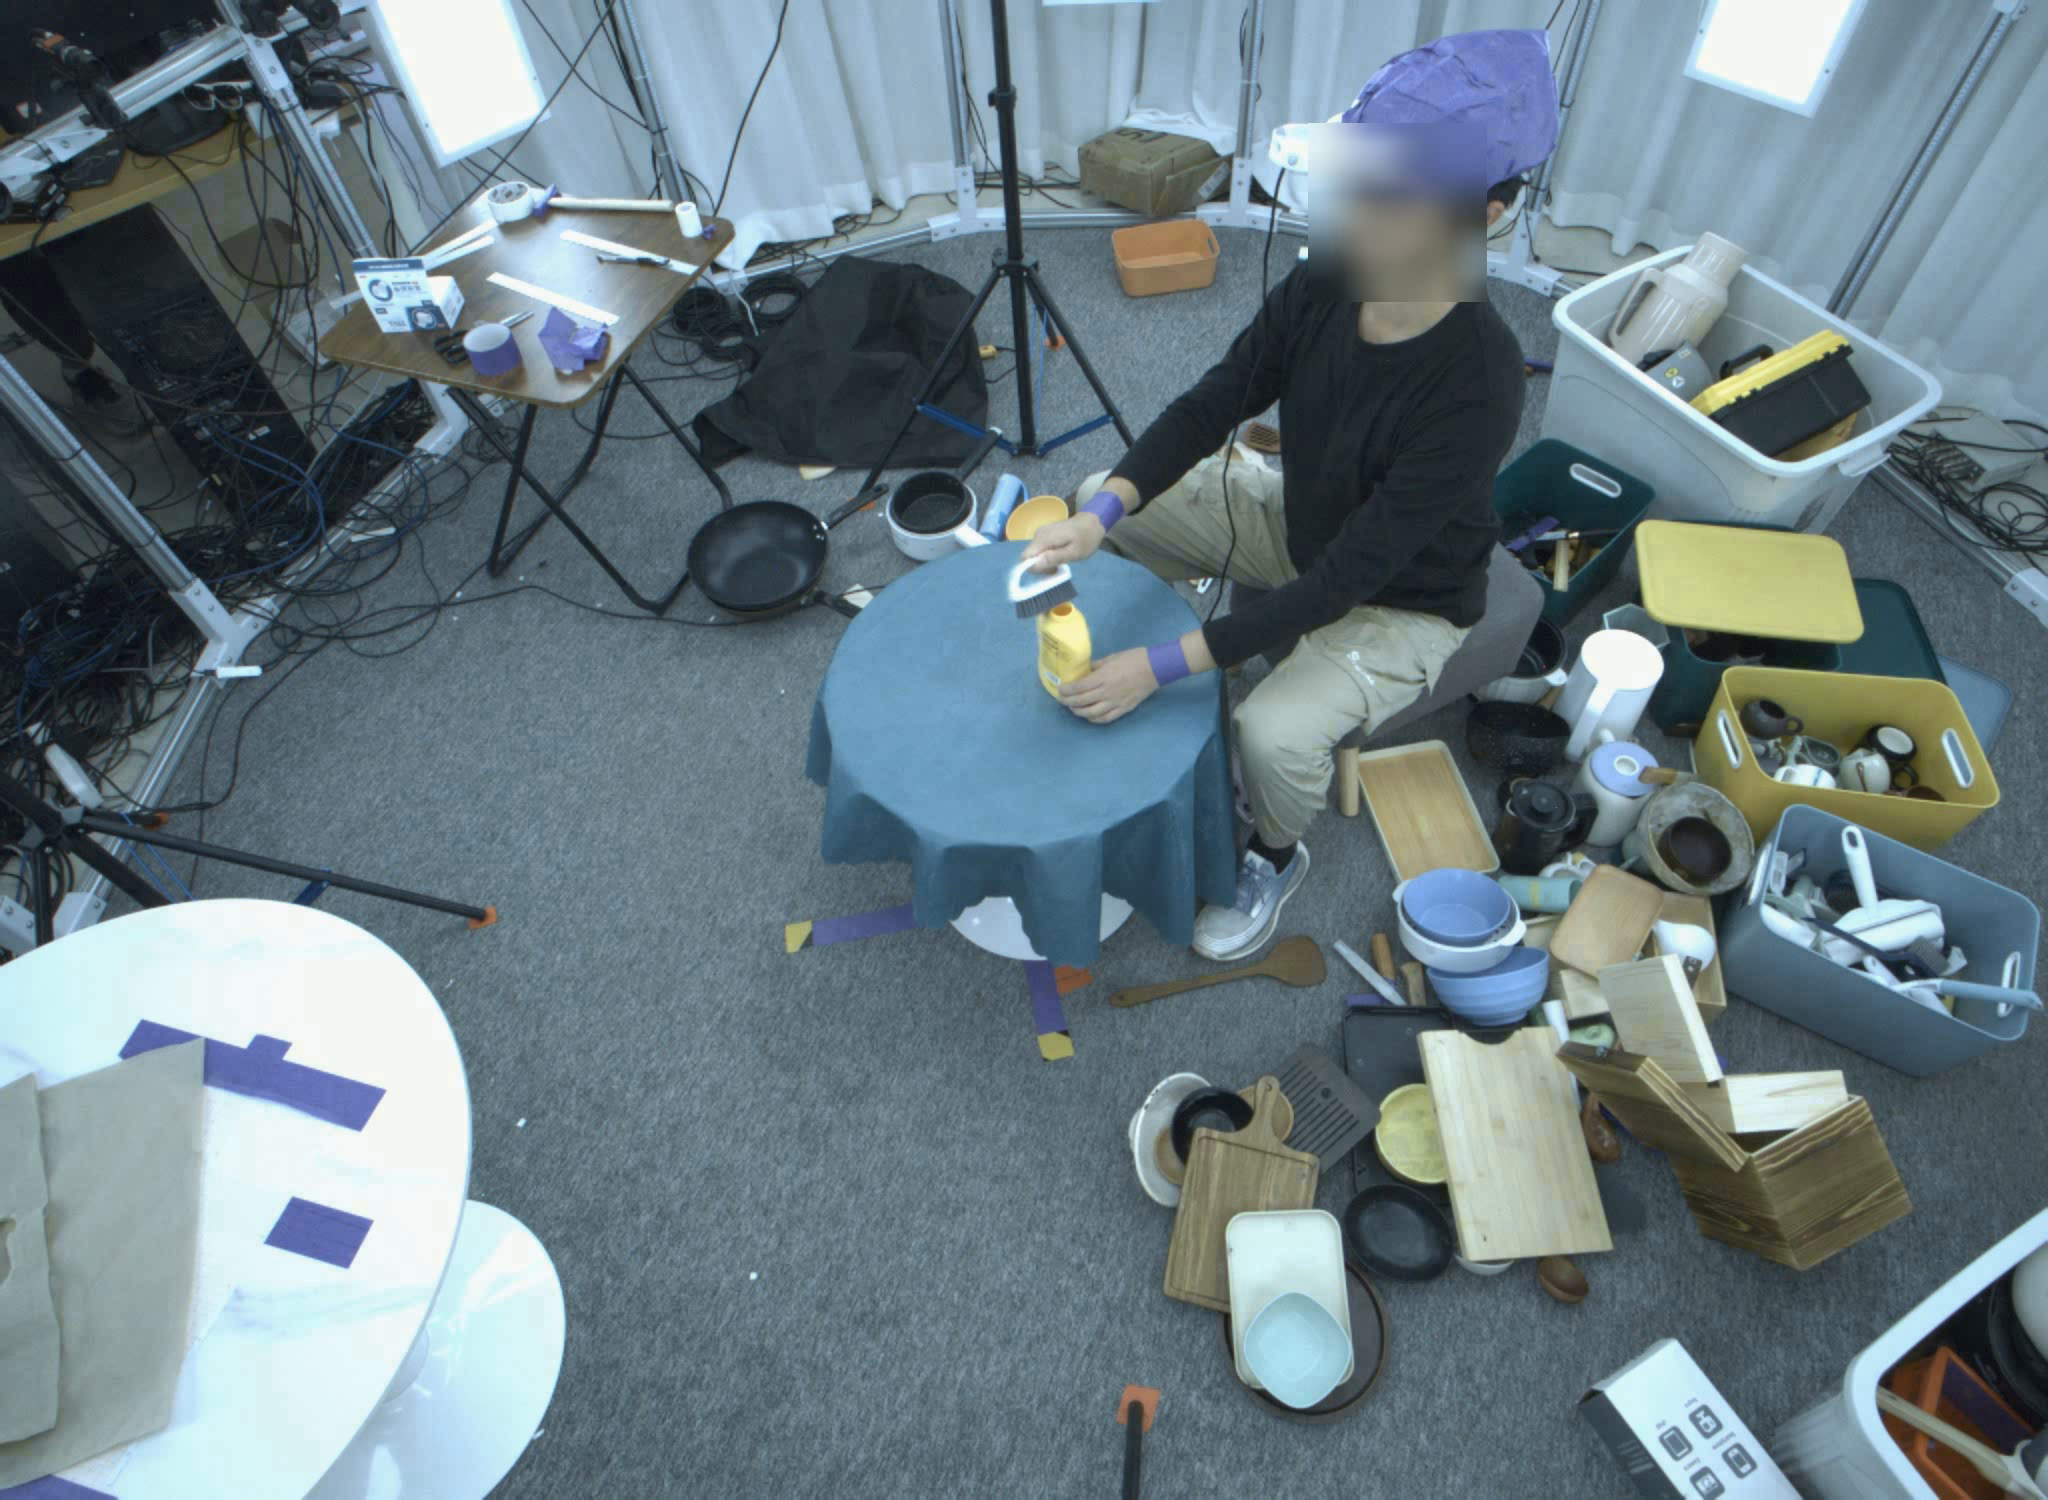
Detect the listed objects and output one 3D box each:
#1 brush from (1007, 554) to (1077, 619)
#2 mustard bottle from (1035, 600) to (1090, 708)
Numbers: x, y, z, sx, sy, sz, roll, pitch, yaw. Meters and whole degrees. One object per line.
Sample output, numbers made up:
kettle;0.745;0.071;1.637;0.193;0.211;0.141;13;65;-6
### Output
brush;0.021;-0.235;1.718;0.100;0.073;0.049;-28;20;-24
mustard bottle;0.054;-0.147;1.789;0.060;0.174;0.096;-37;59;-25
